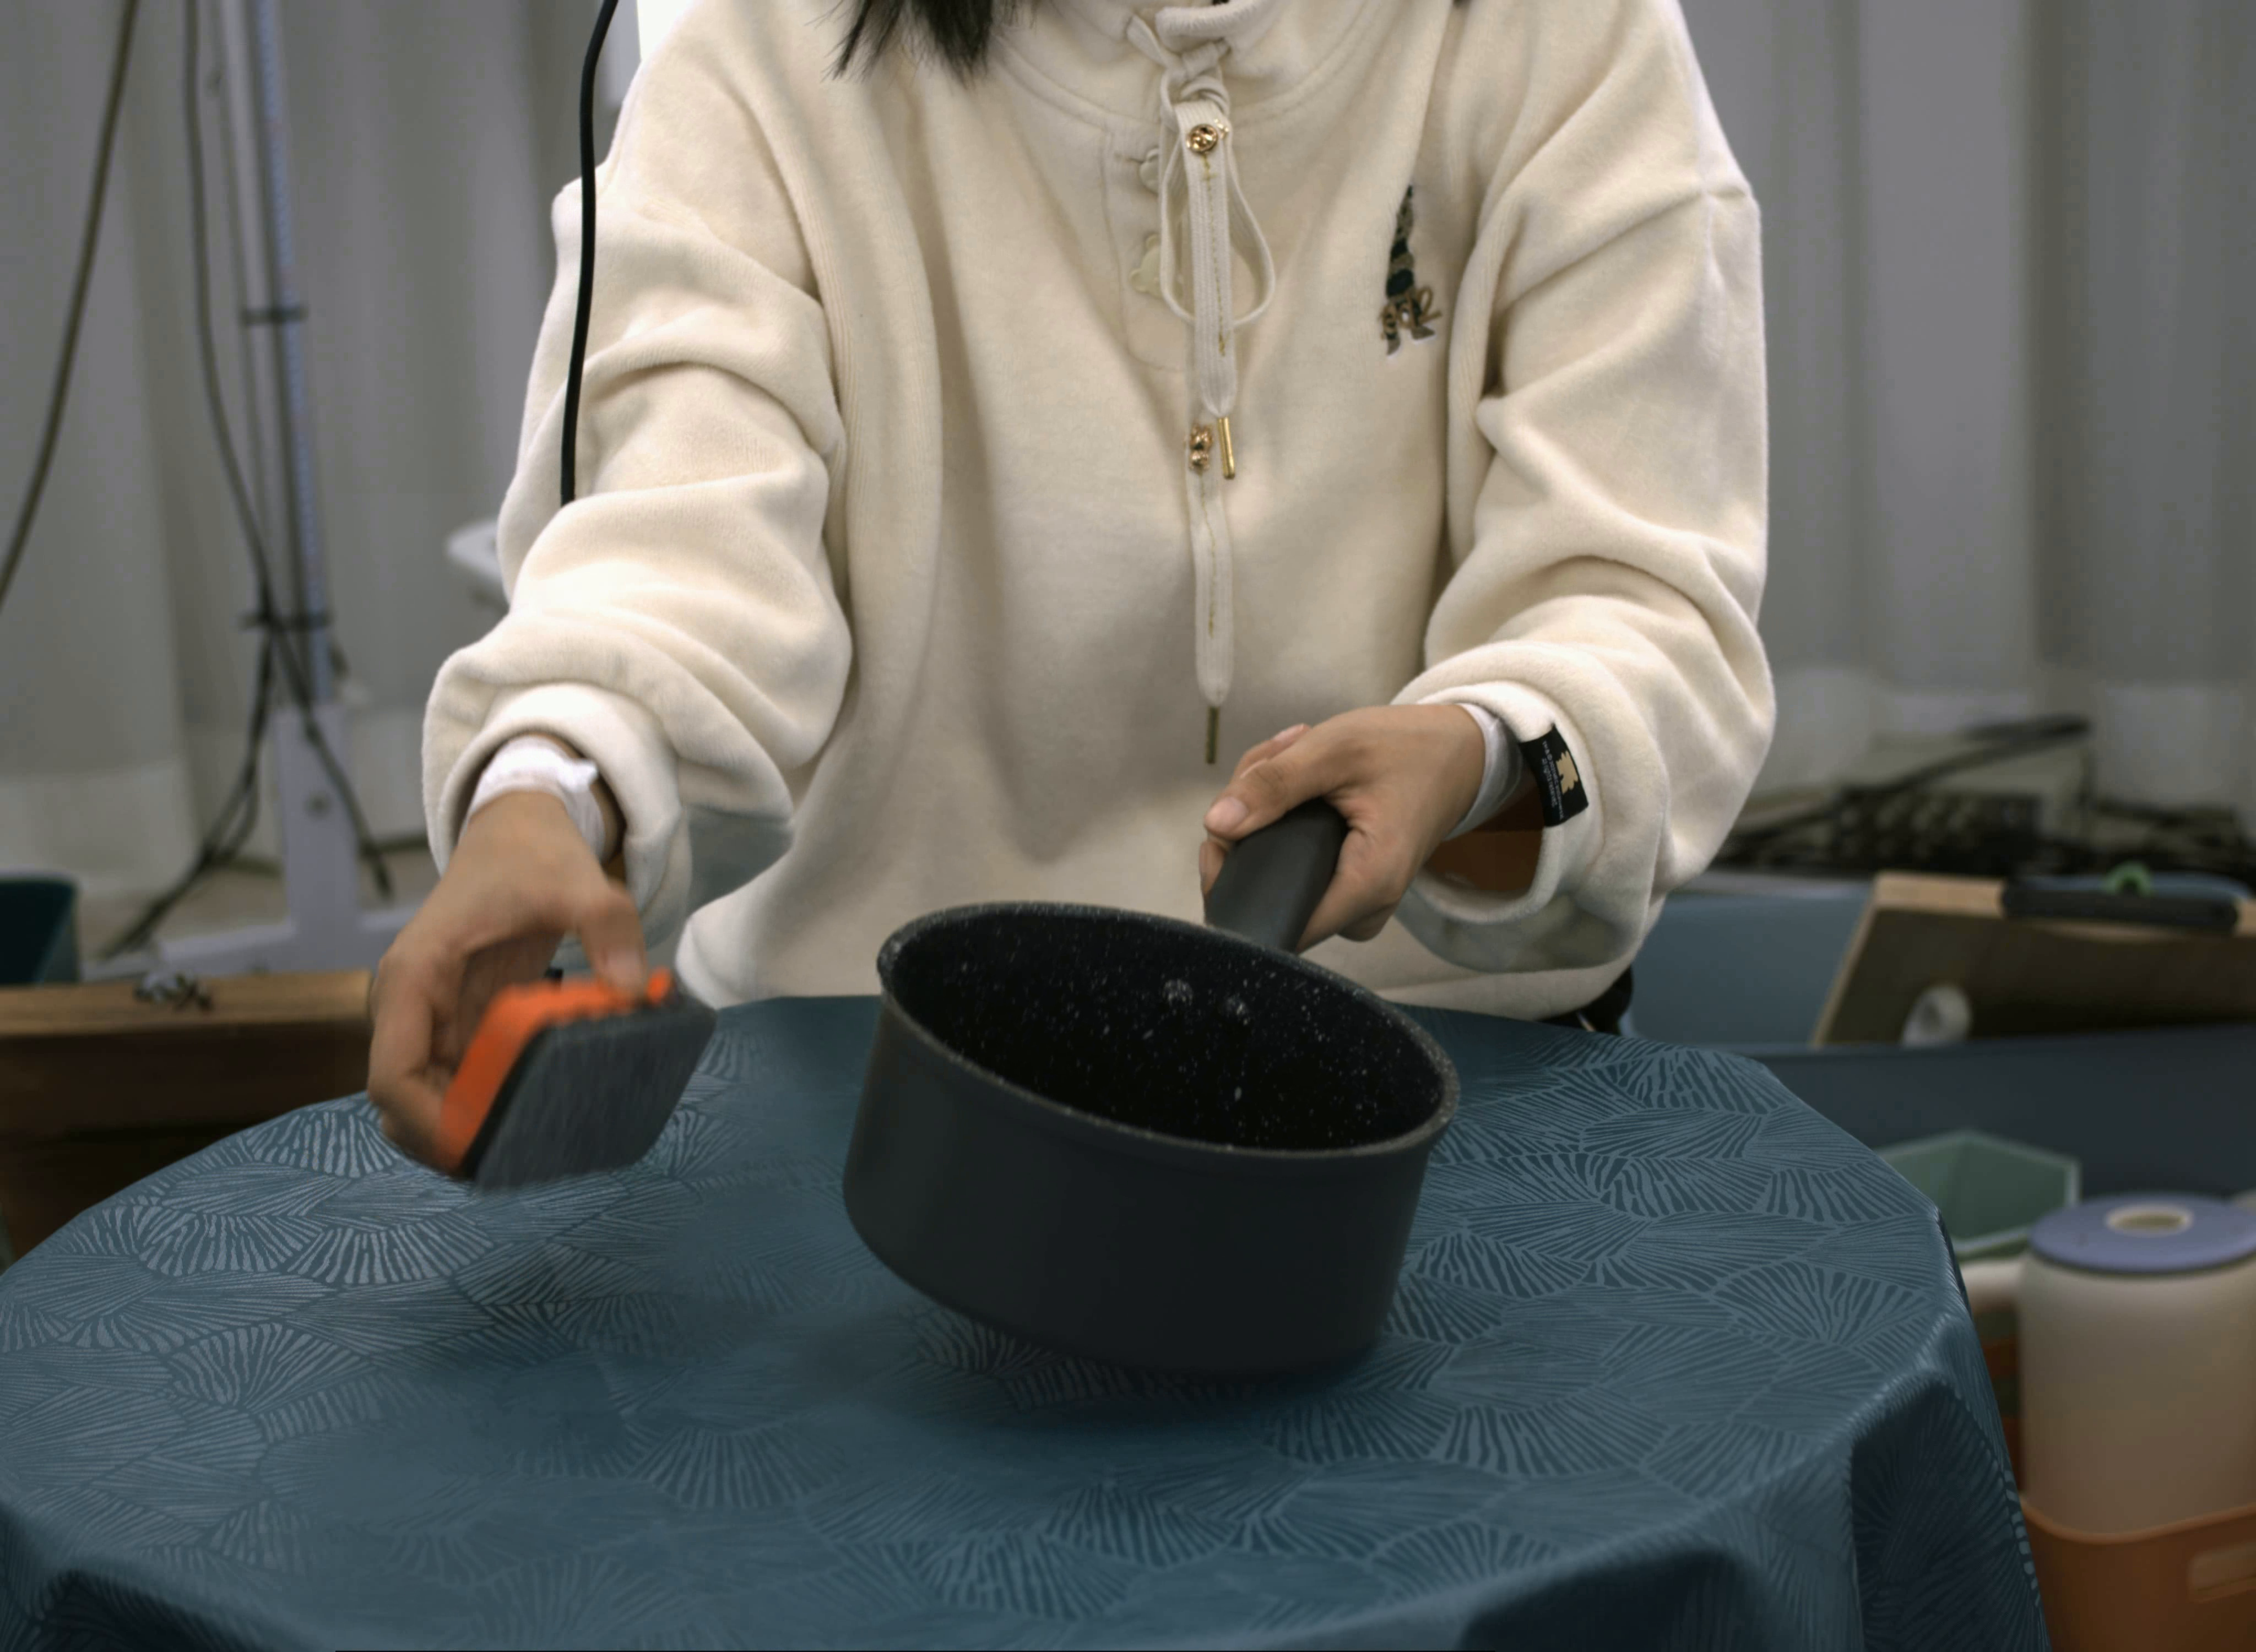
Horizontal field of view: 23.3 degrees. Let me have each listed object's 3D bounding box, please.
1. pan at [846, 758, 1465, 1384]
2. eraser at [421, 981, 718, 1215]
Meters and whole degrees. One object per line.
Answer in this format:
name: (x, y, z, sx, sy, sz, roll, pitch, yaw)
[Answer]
pan: (0.024, 0.066, 1.639, 0.172, 0.086, 0.330, 17, 21, 10)
eraser: (-0.162, 0.079, 1.602, 0.023, 0.059, 0.108, 33, 16, 18)
